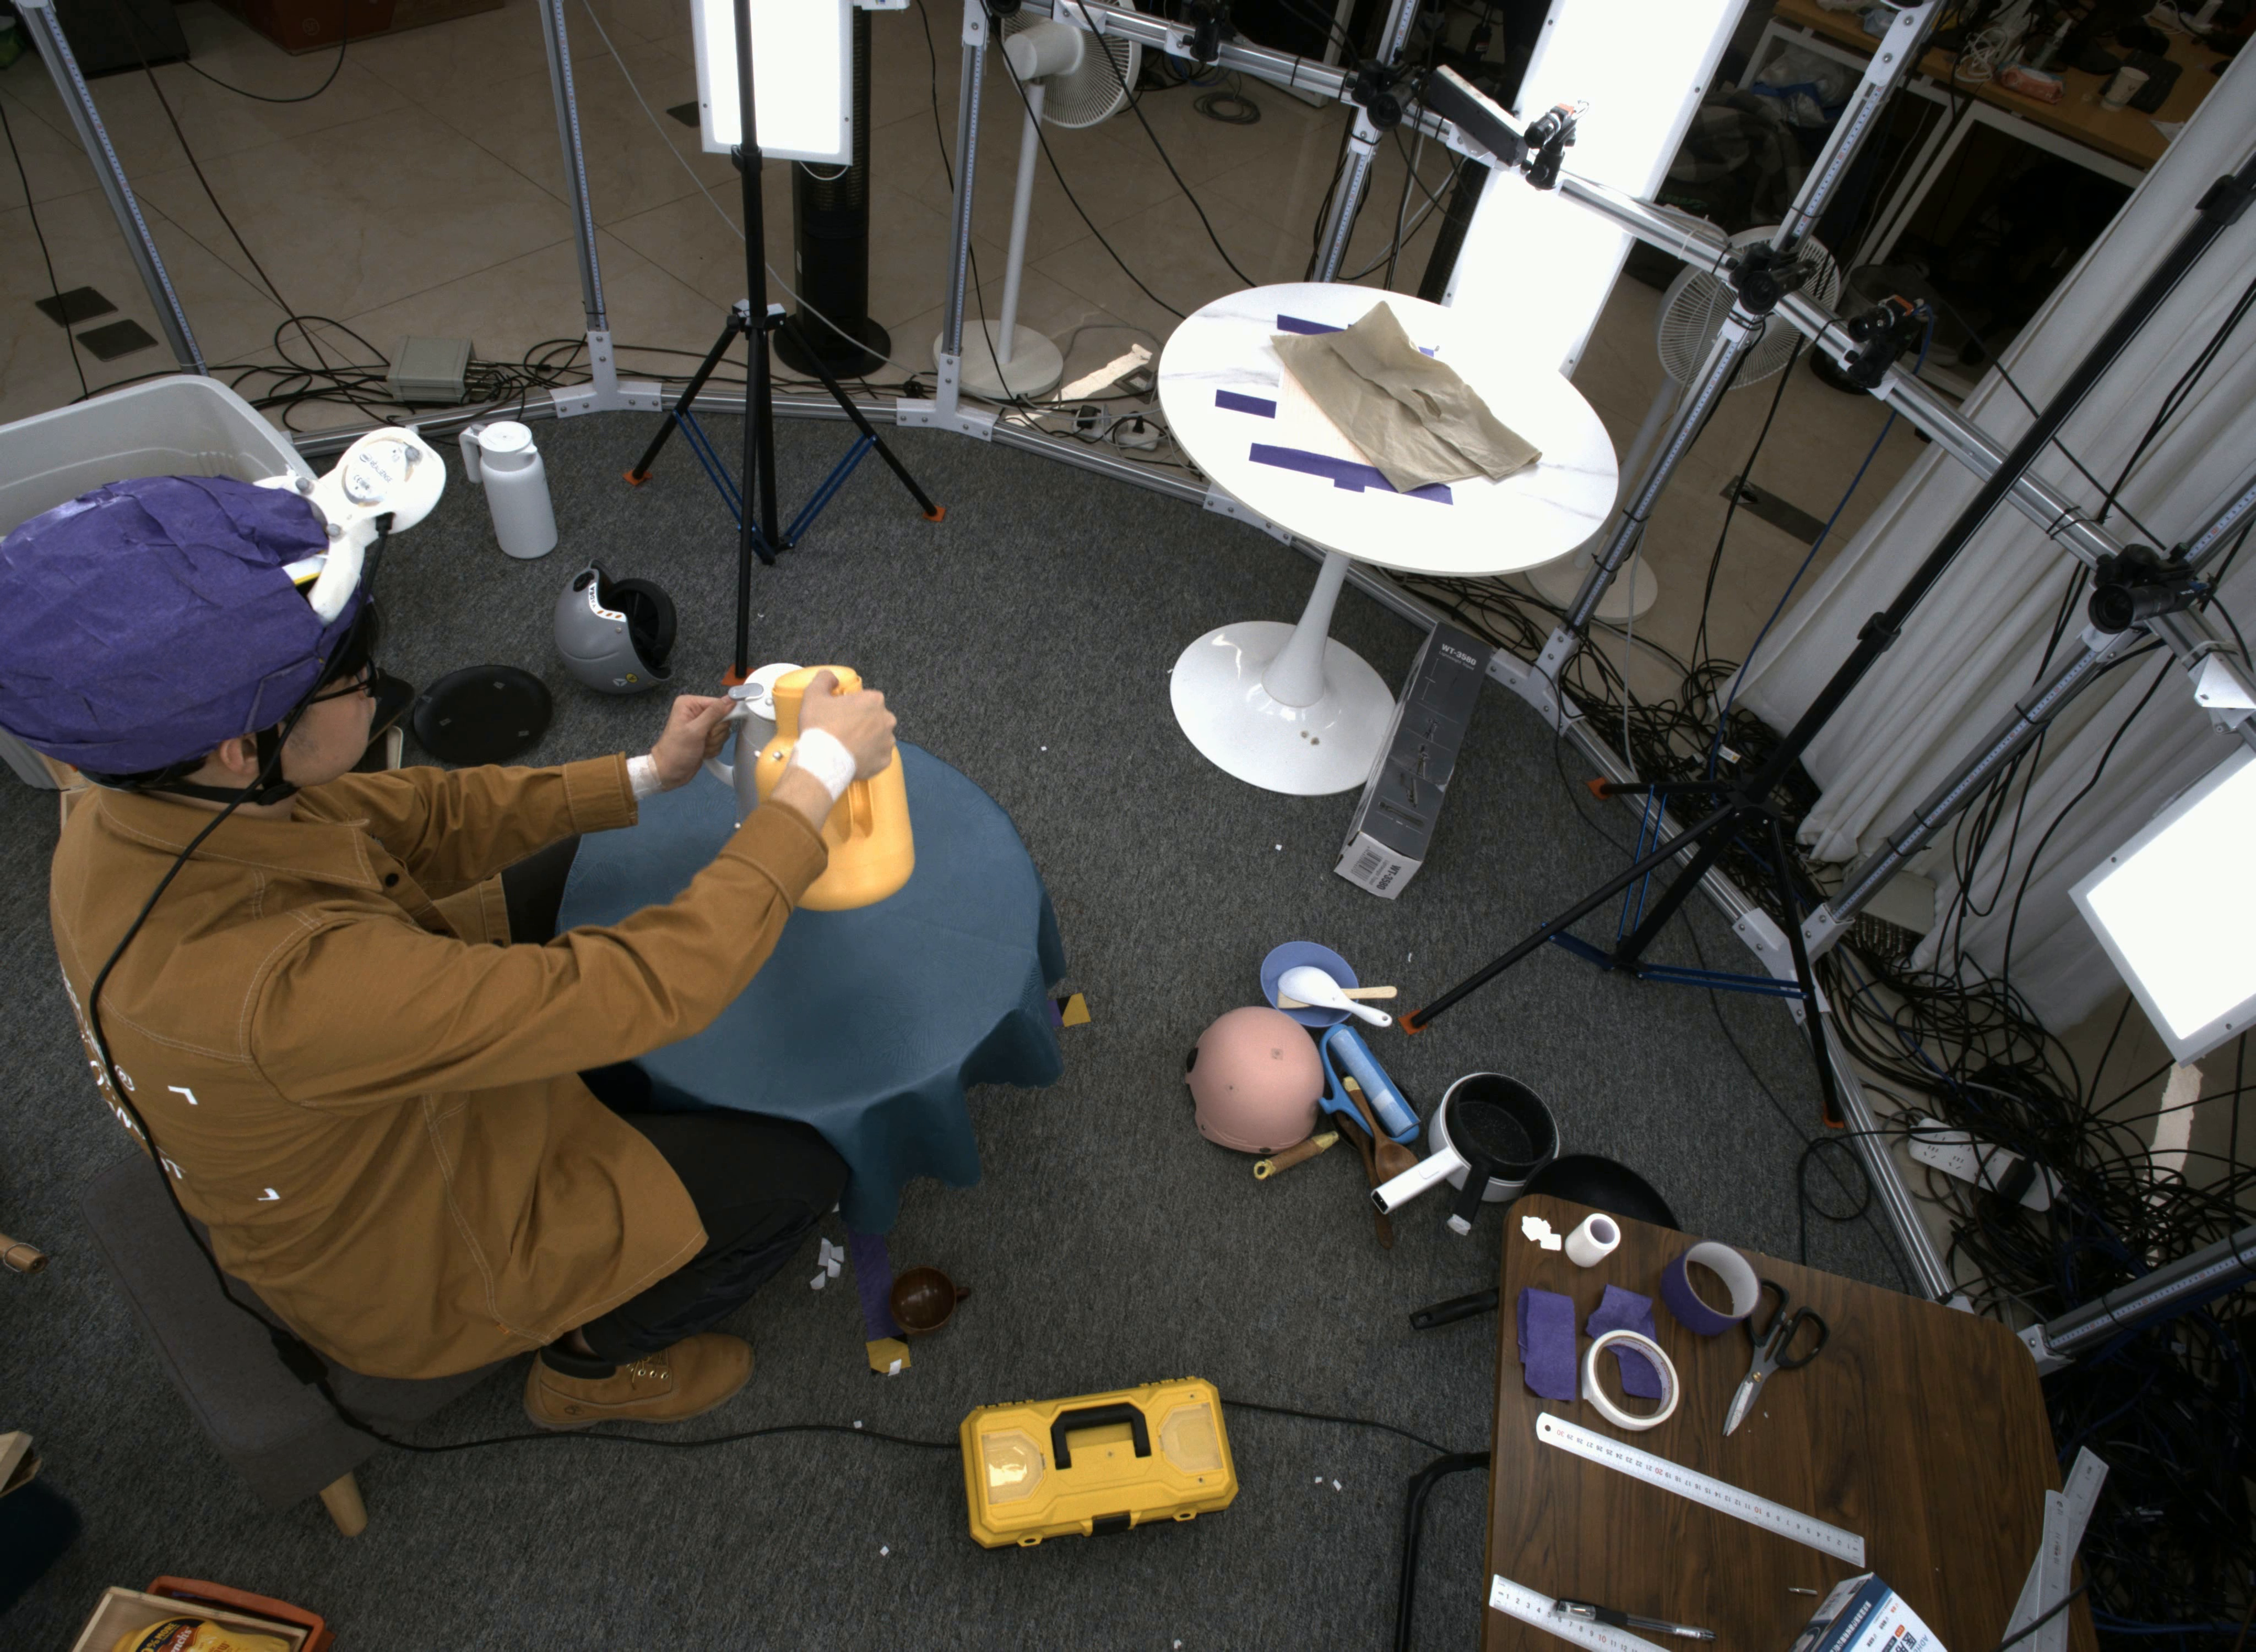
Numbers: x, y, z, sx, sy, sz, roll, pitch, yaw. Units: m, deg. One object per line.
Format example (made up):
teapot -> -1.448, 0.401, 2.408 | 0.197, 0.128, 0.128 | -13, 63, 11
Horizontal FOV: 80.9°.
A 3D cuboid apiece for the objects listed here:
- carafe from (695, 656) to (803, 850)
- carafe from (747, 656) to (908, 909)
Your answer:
carafe -> -0.443, -0.089, 1.589 | 0.168, 0.254, 0.129 | -5, 54, -14
carafe -> -0.326, -0.046, 1.404 | 0.164, 0.268, 0.195 | -13, 21, -24
